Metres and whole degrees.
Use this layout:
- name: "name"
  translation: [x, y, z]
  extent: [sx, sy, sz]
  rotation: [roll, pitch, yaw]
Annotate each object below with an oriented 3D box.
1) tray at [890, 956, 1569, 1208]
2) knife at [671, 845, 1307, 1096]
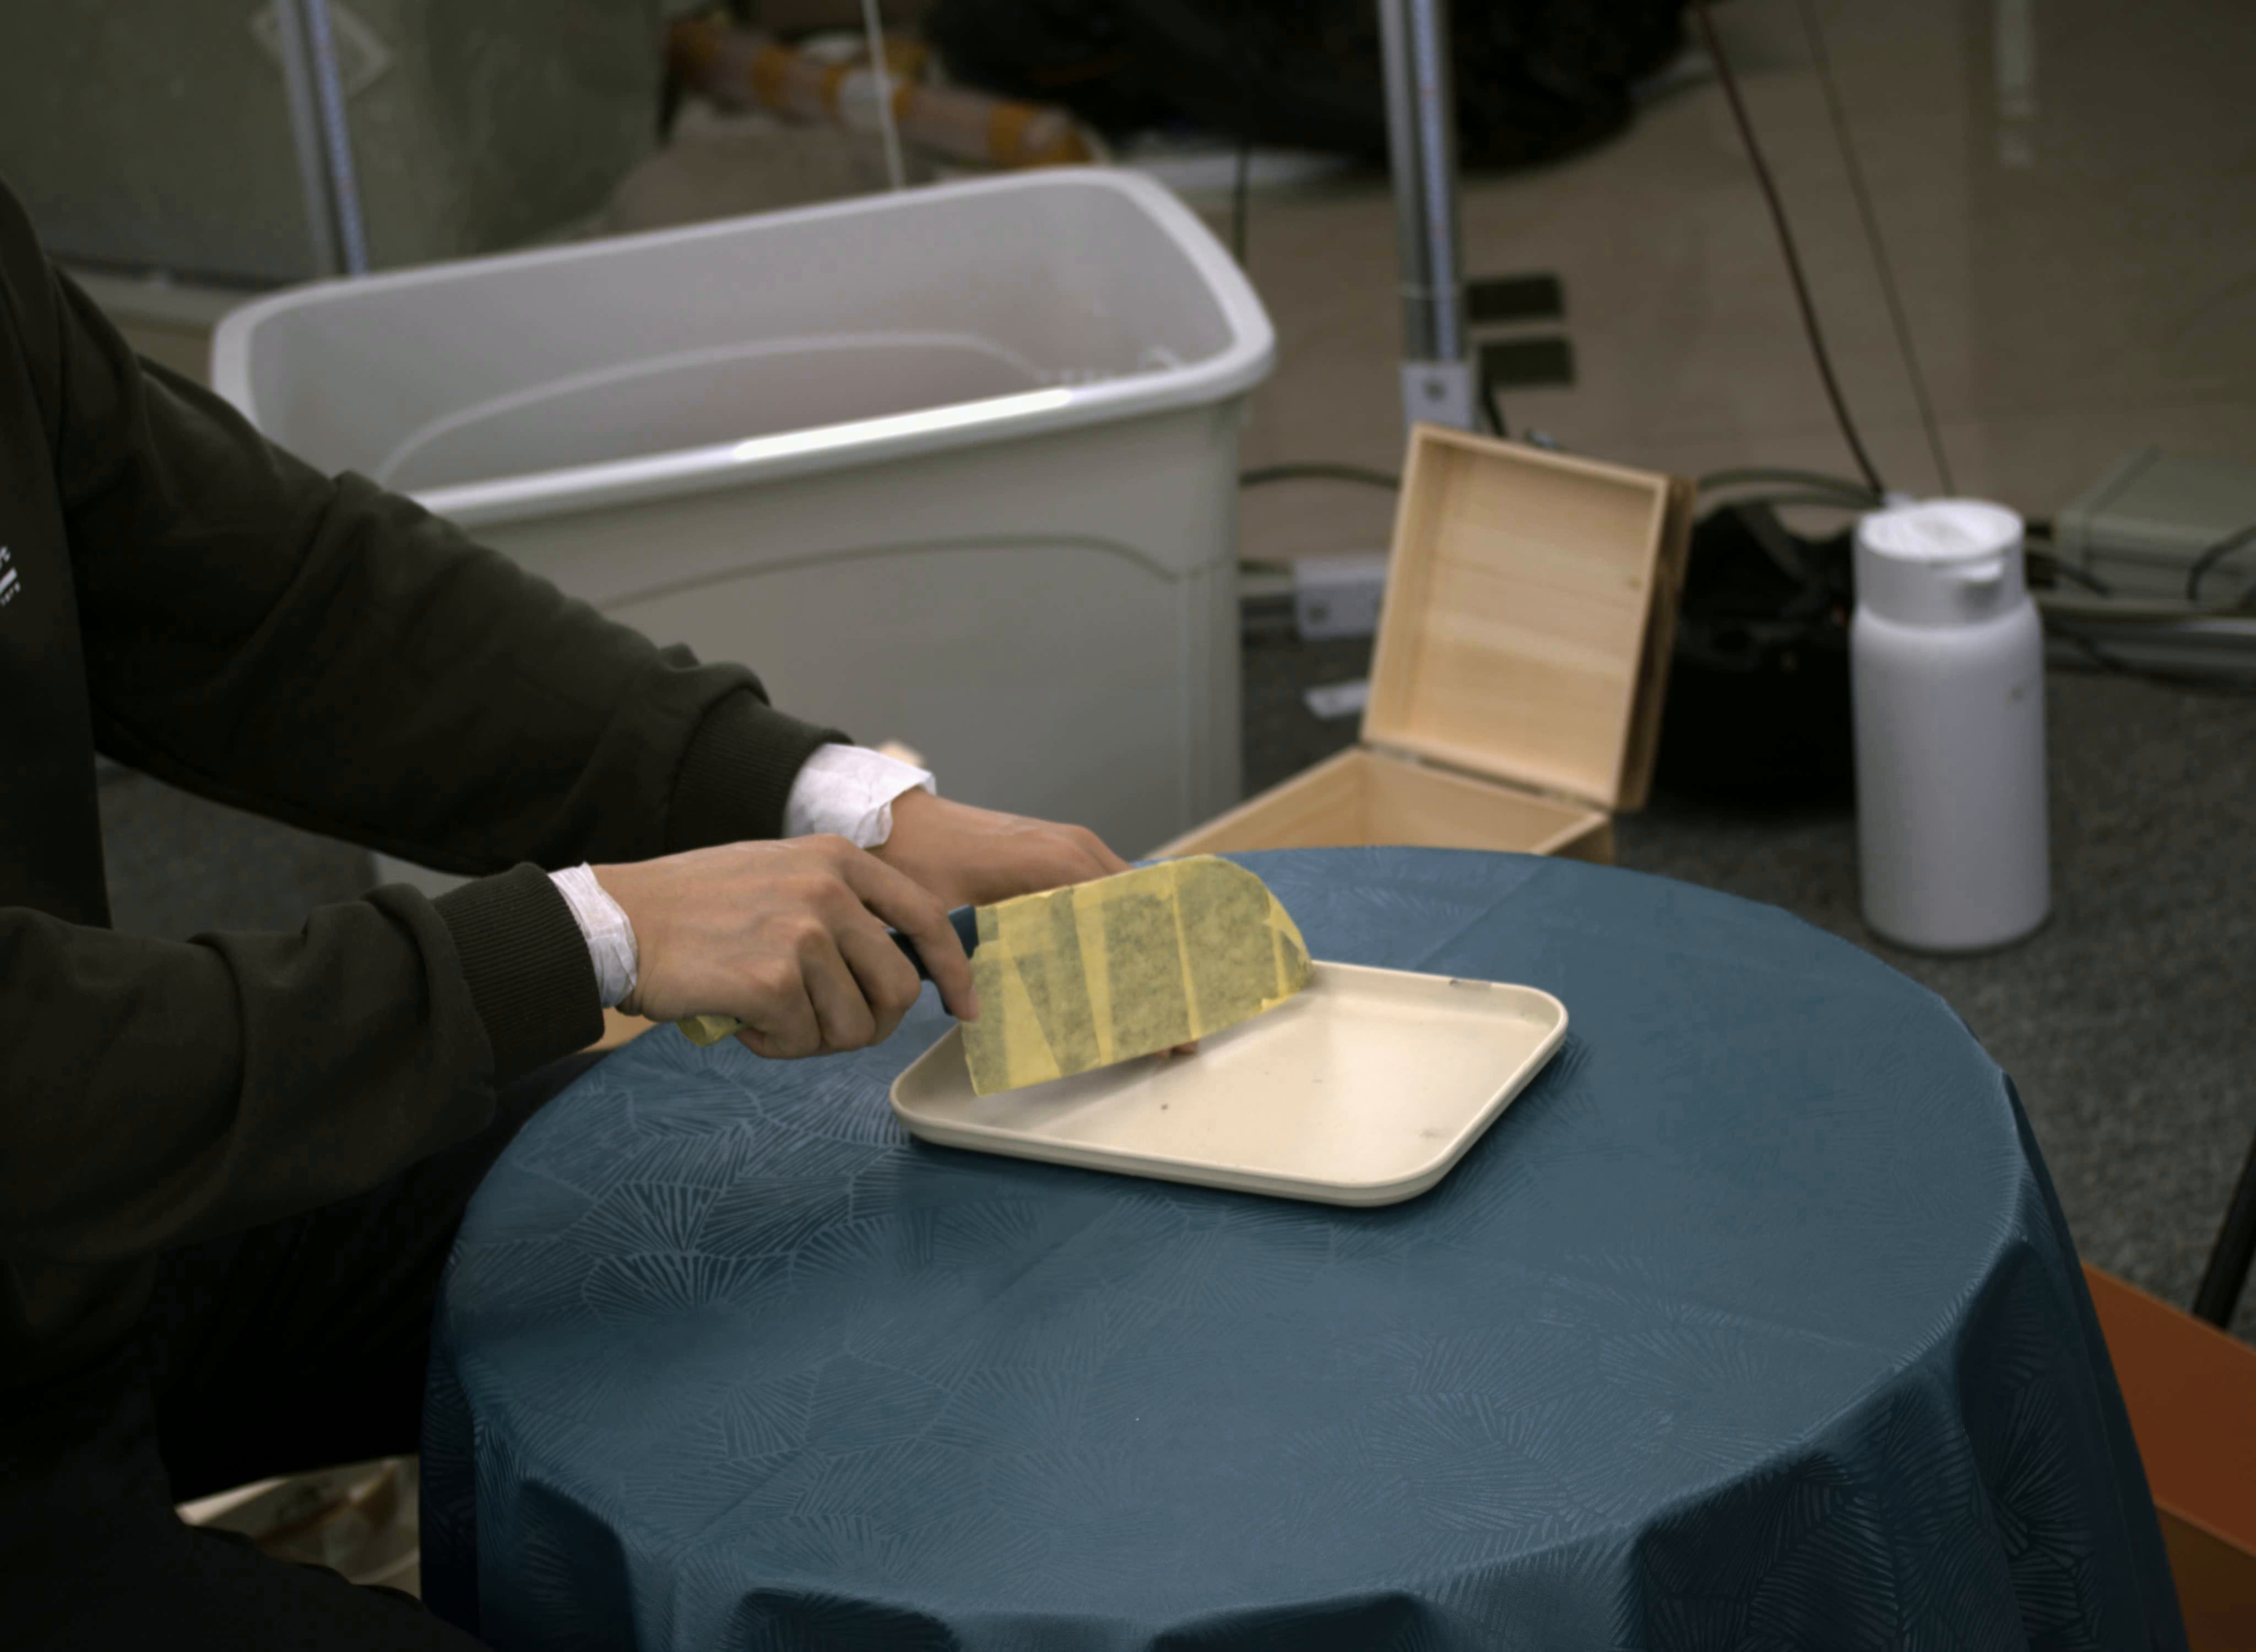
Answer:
- name: "tray"
  translation: [0.040, 0.096, 2.214]
  extent: [0.239, 0.018, 0.169]
  rotation: [6, 28, 27]
- name: "knife"
  translation: [-0.047, 0.061, 2.186]
  extent: [0.288, 0.081, 0.027]
  rotation: [-10, 5, -33]
